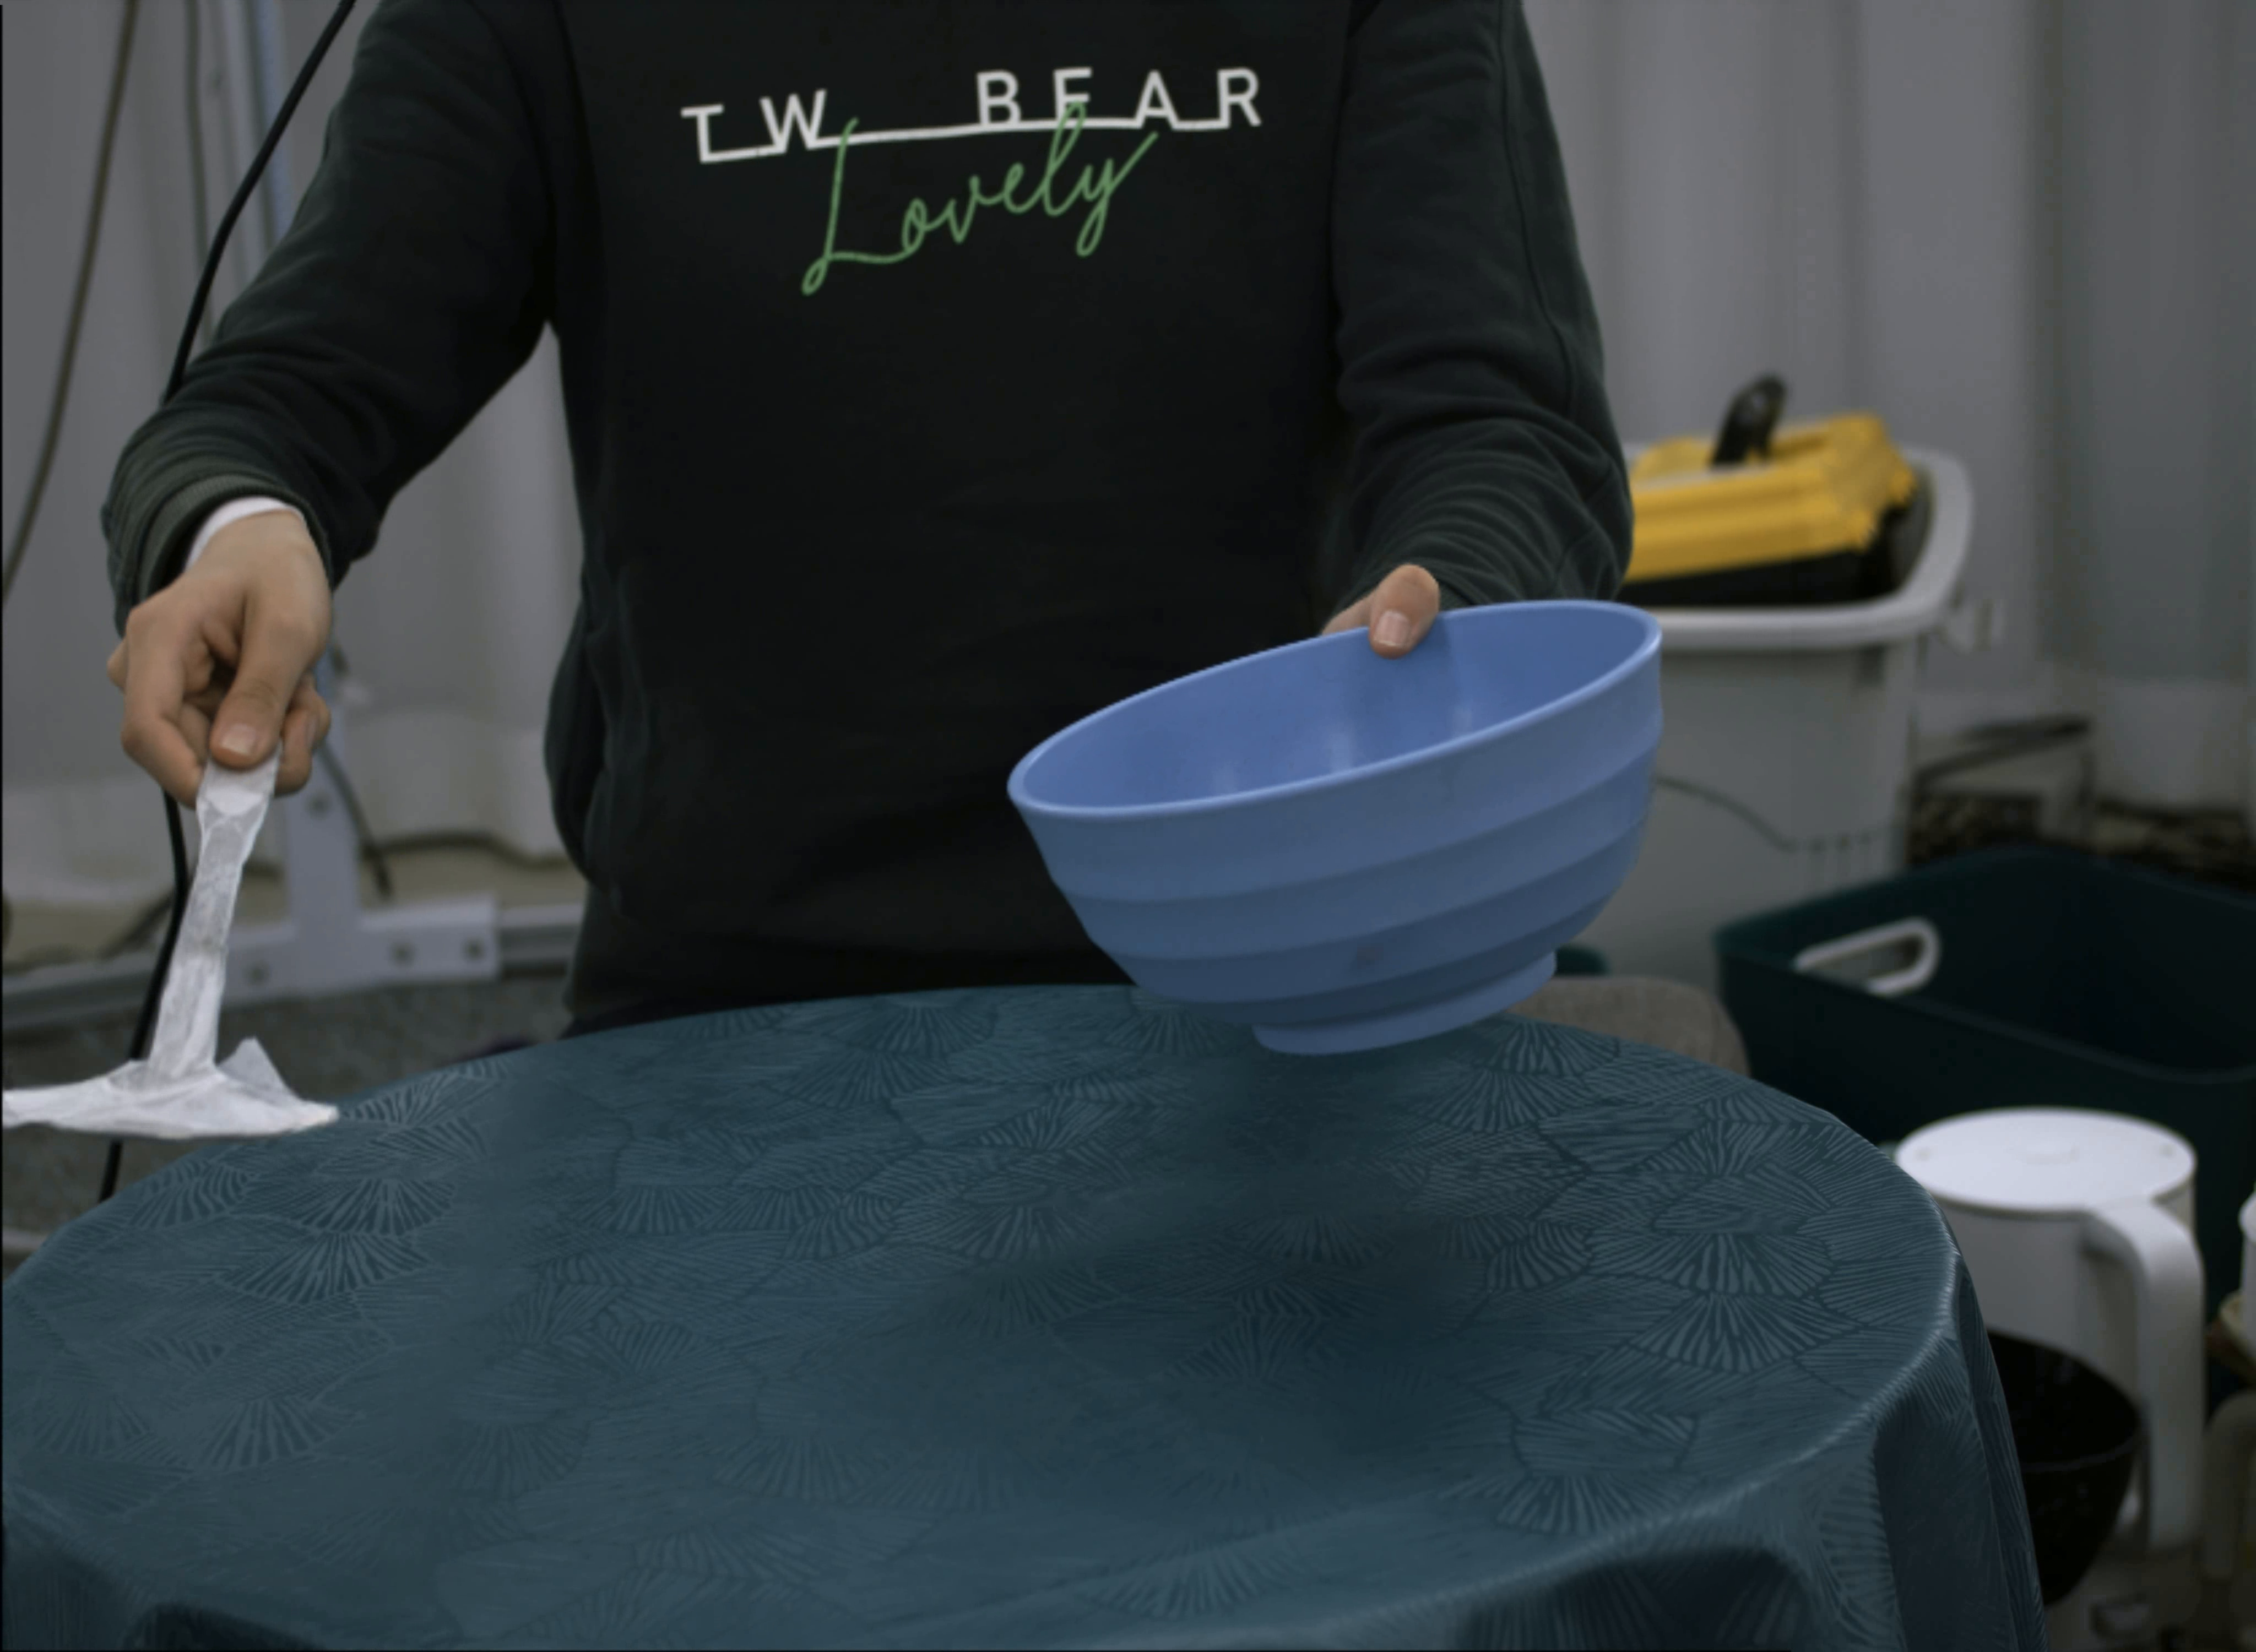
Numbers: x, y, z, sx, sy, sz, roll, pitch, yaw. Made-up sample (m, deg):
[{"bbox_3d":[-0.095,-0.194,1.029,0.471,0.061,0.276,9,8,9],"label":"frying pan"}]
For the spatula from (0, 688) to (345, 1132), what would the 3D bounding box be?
[{"bbox_3d":[-0.258,0.016,1.566,0.098,0.044,0.369,2,25,-3],"label":"spatula"}]

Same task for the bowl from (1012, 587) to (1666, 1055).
[{"bbox_3d":[0.072,0.006,1.604,0.196,0.095,0.198,-15,14,3],"label":"bowl"}]
